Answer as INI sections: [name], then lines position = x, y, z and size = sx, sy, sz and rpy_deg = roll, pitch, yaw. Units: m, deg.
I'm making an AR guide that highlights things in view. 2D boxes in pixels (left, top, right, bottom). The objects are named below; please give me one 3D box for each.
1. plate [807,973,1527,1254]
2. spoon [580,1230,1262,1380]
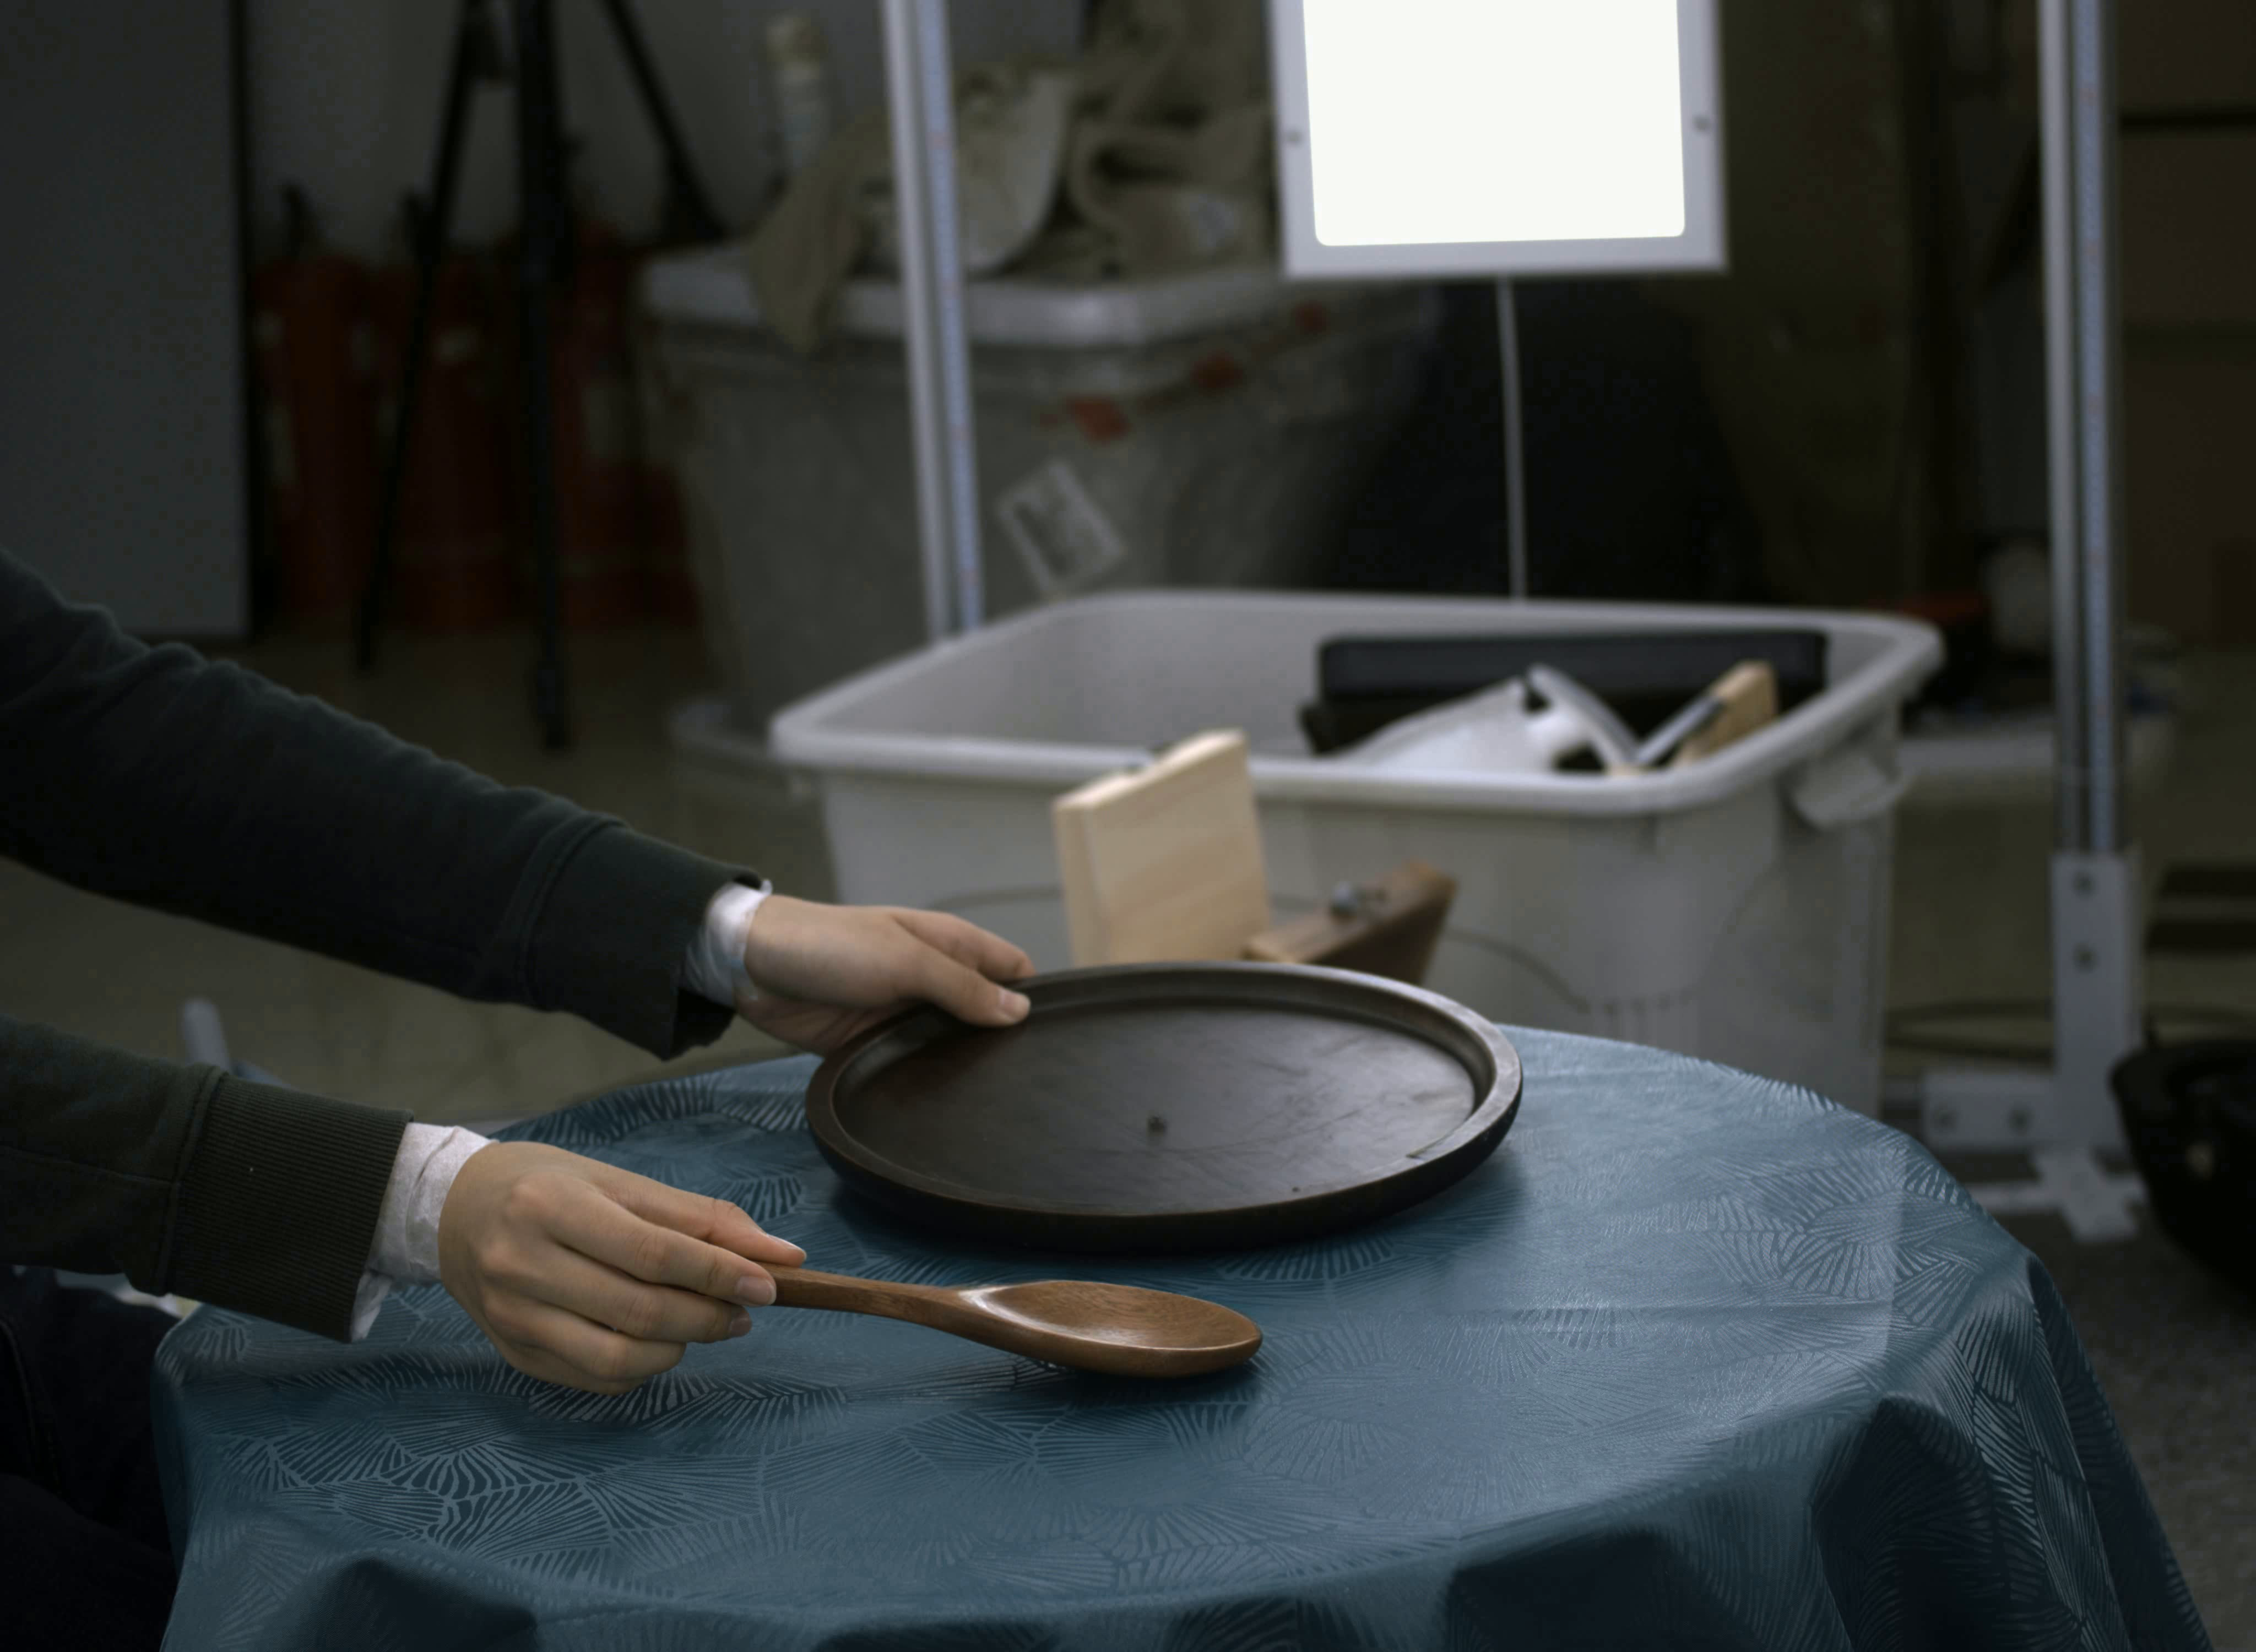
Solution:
[plate]
position = 0.013, 0.098, 1.928
size = 0.254, 0.029, 0.254
rpy_deg = -2, 17, -1
[spoon]
position = -0.065, 0.150, 1.724
size = 0.216, 0.017, 0.075
rpy_deg = 8, 11, 5
